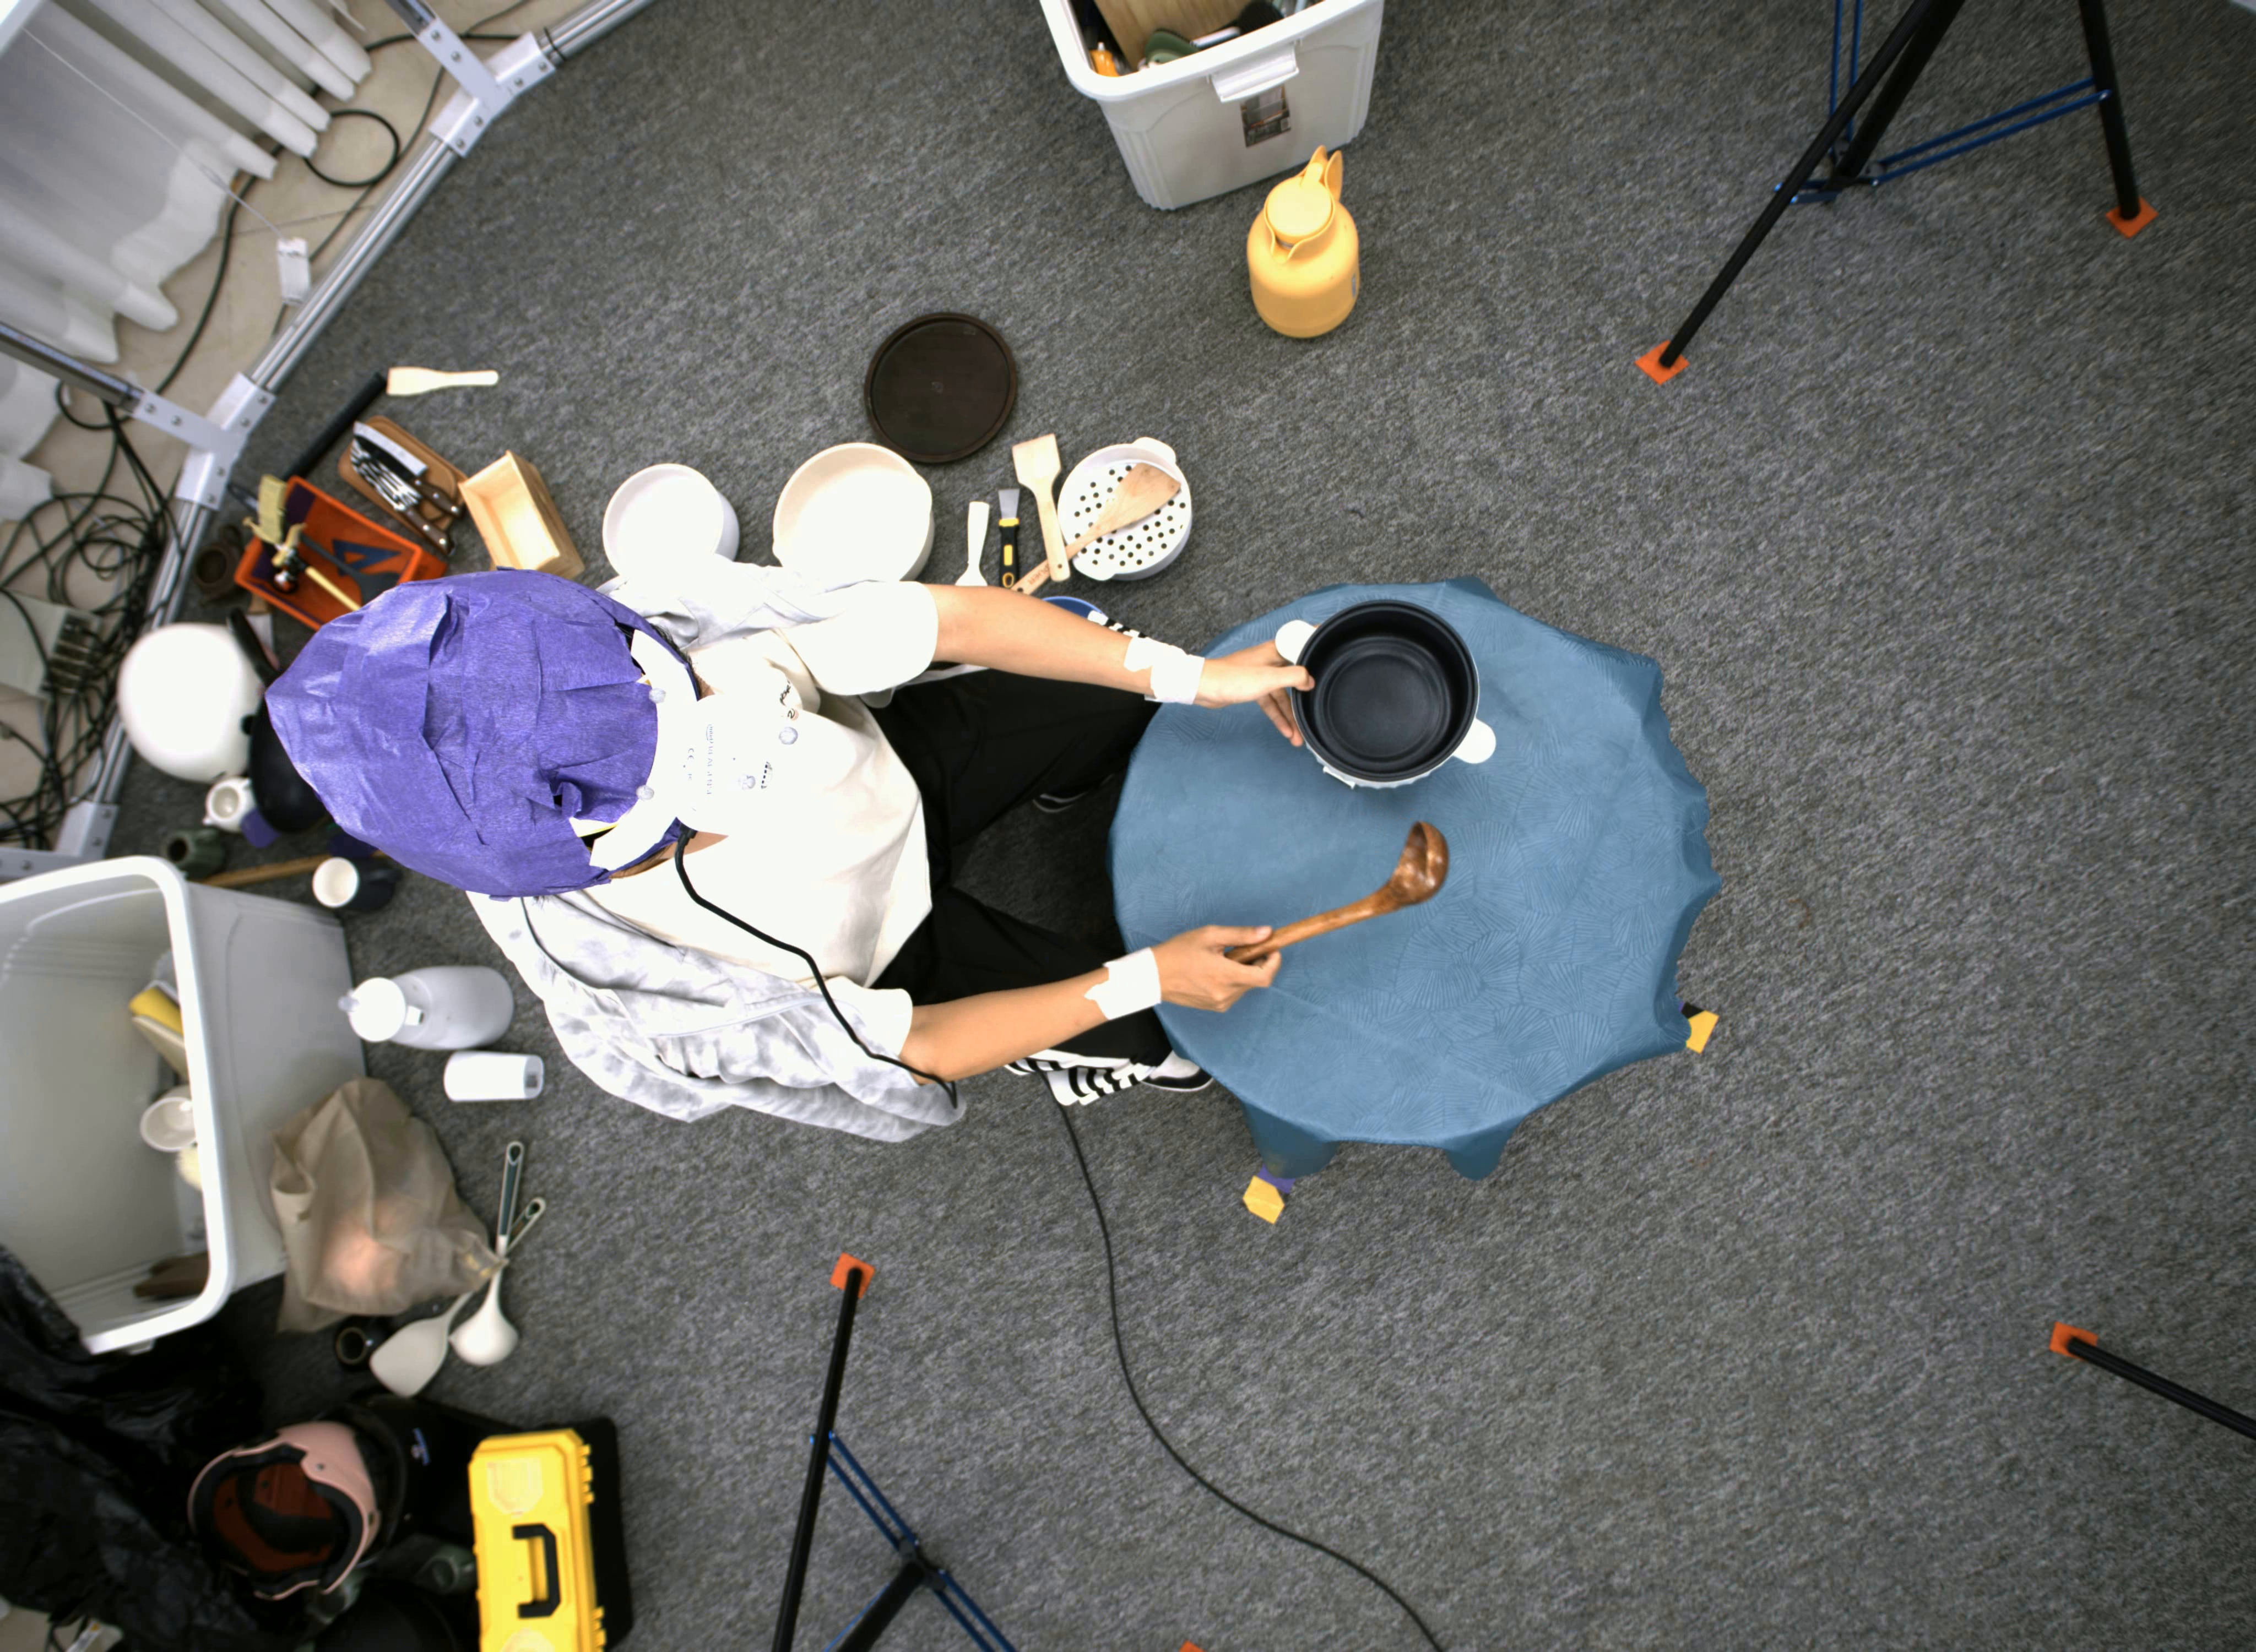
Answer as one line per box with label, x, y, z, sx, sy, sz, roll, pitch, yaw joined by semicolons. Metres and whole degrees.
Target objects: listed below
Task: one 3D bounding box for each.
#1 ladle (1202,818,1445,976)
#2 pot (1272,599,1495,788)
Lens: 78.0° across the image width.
ladle;0.182;0.072;1.347;0.277;0.080;0.078;-23;120;18
pot;0.259;-0.135;1.398;0.240;0.142;0.191;30;96;8
